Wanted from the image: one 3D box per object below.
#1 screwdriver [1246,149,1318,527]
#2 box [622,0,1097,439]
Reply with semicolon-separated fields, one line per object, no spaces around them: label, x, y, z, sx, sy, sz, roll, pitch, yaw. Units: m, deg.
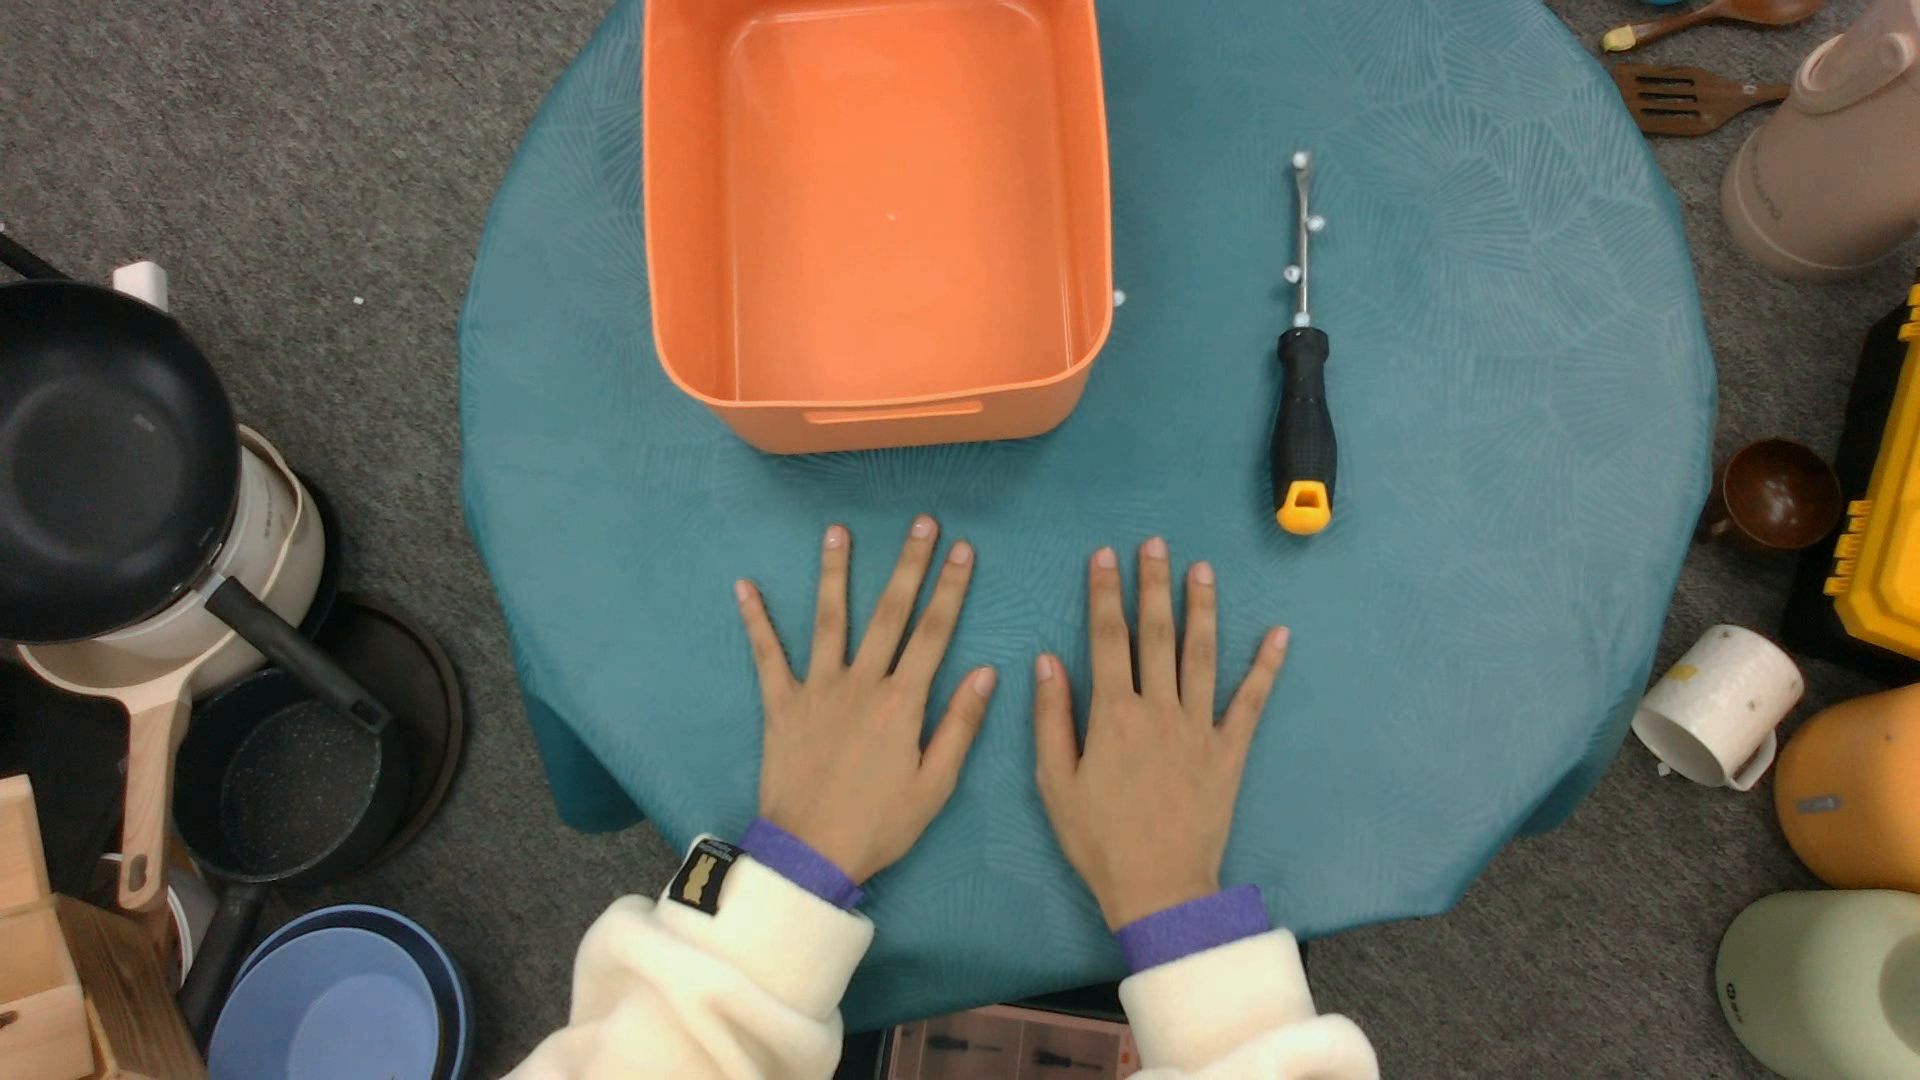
screwdriver;0.144;-0.098;0.638;0.031;0.031;0.198;-1;66;2
box;-0.045;-0.180;0.637;0.199;0.102;0.274;-4;74;0
